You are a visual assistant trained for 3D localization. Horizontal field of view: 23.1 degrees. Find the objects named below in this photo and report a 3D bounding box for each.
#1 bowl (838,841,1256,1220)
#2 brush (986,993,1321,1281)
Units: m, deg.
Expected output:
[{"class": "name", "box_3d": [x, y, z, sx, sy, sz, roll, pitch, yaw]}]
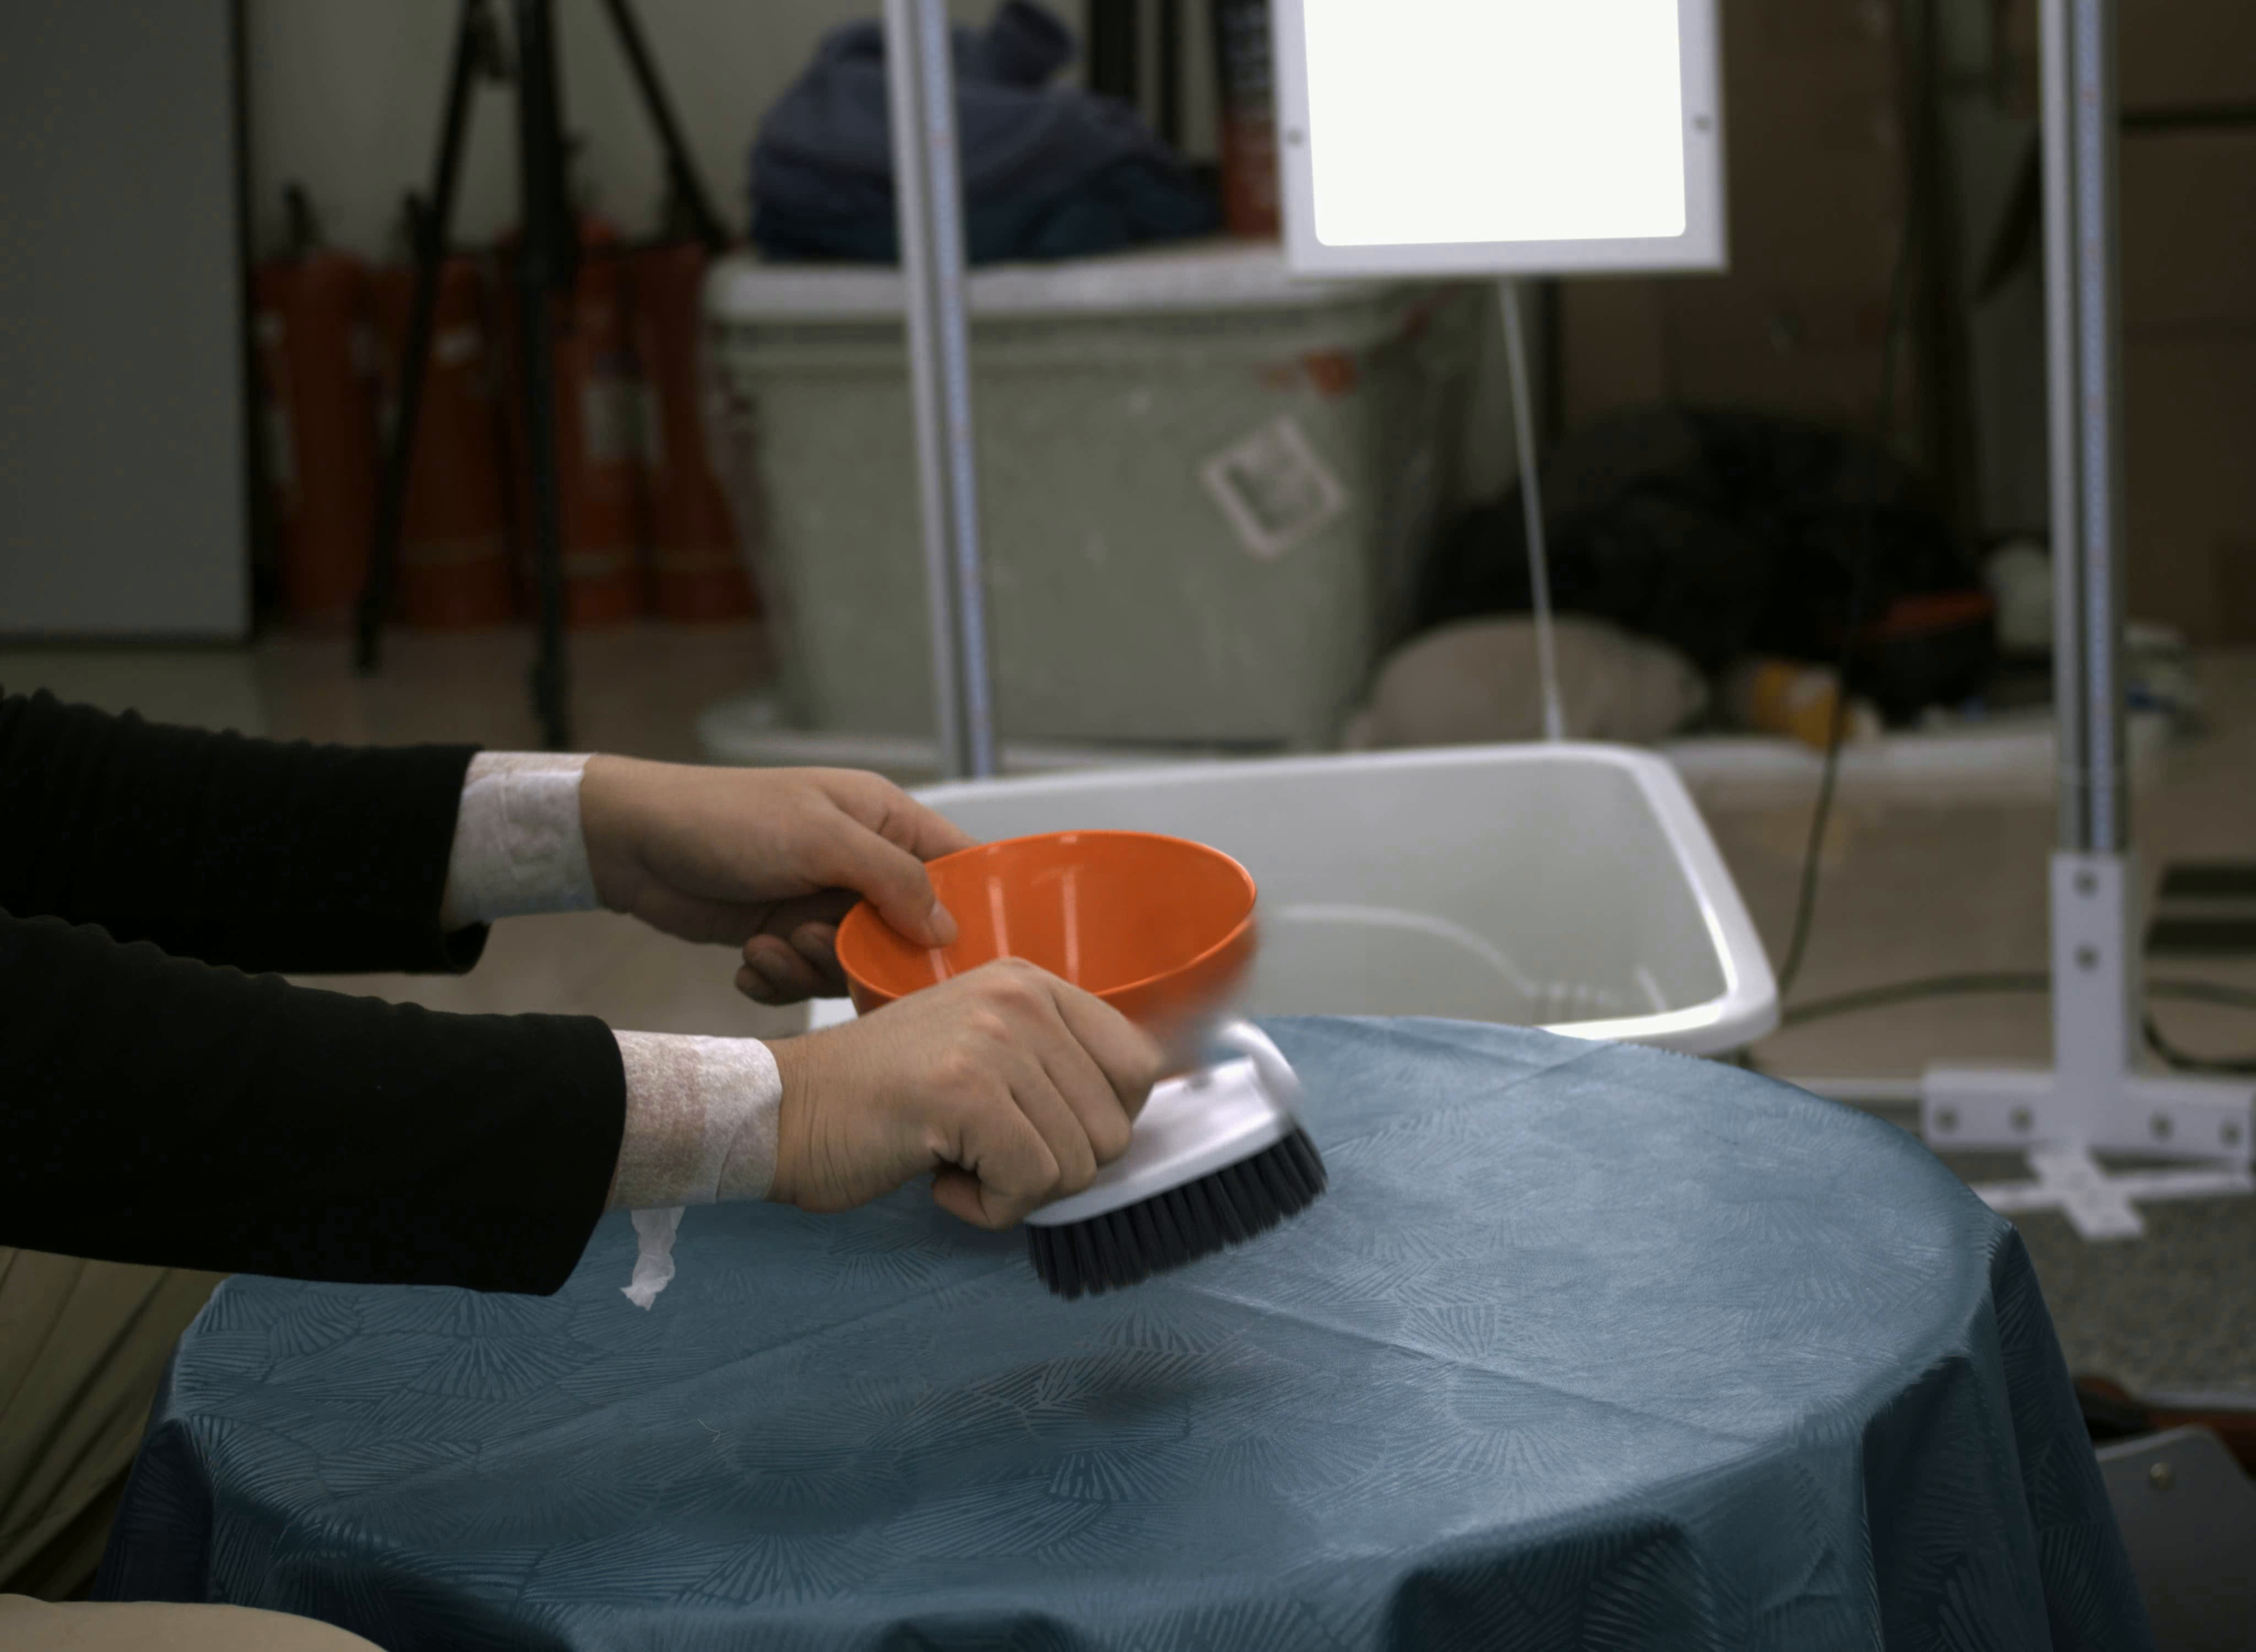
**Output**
[{"class": "bowl", "box_3d": [-0.023, 0.075, 1.915, 0.148, 0.105, 0.148, -8, 13, 0]}, {"class": "brush", "box_3d": [0.004, 0.090, 1.698, 0.099, 0.072, 0.050, -21, 29, -3]}]
